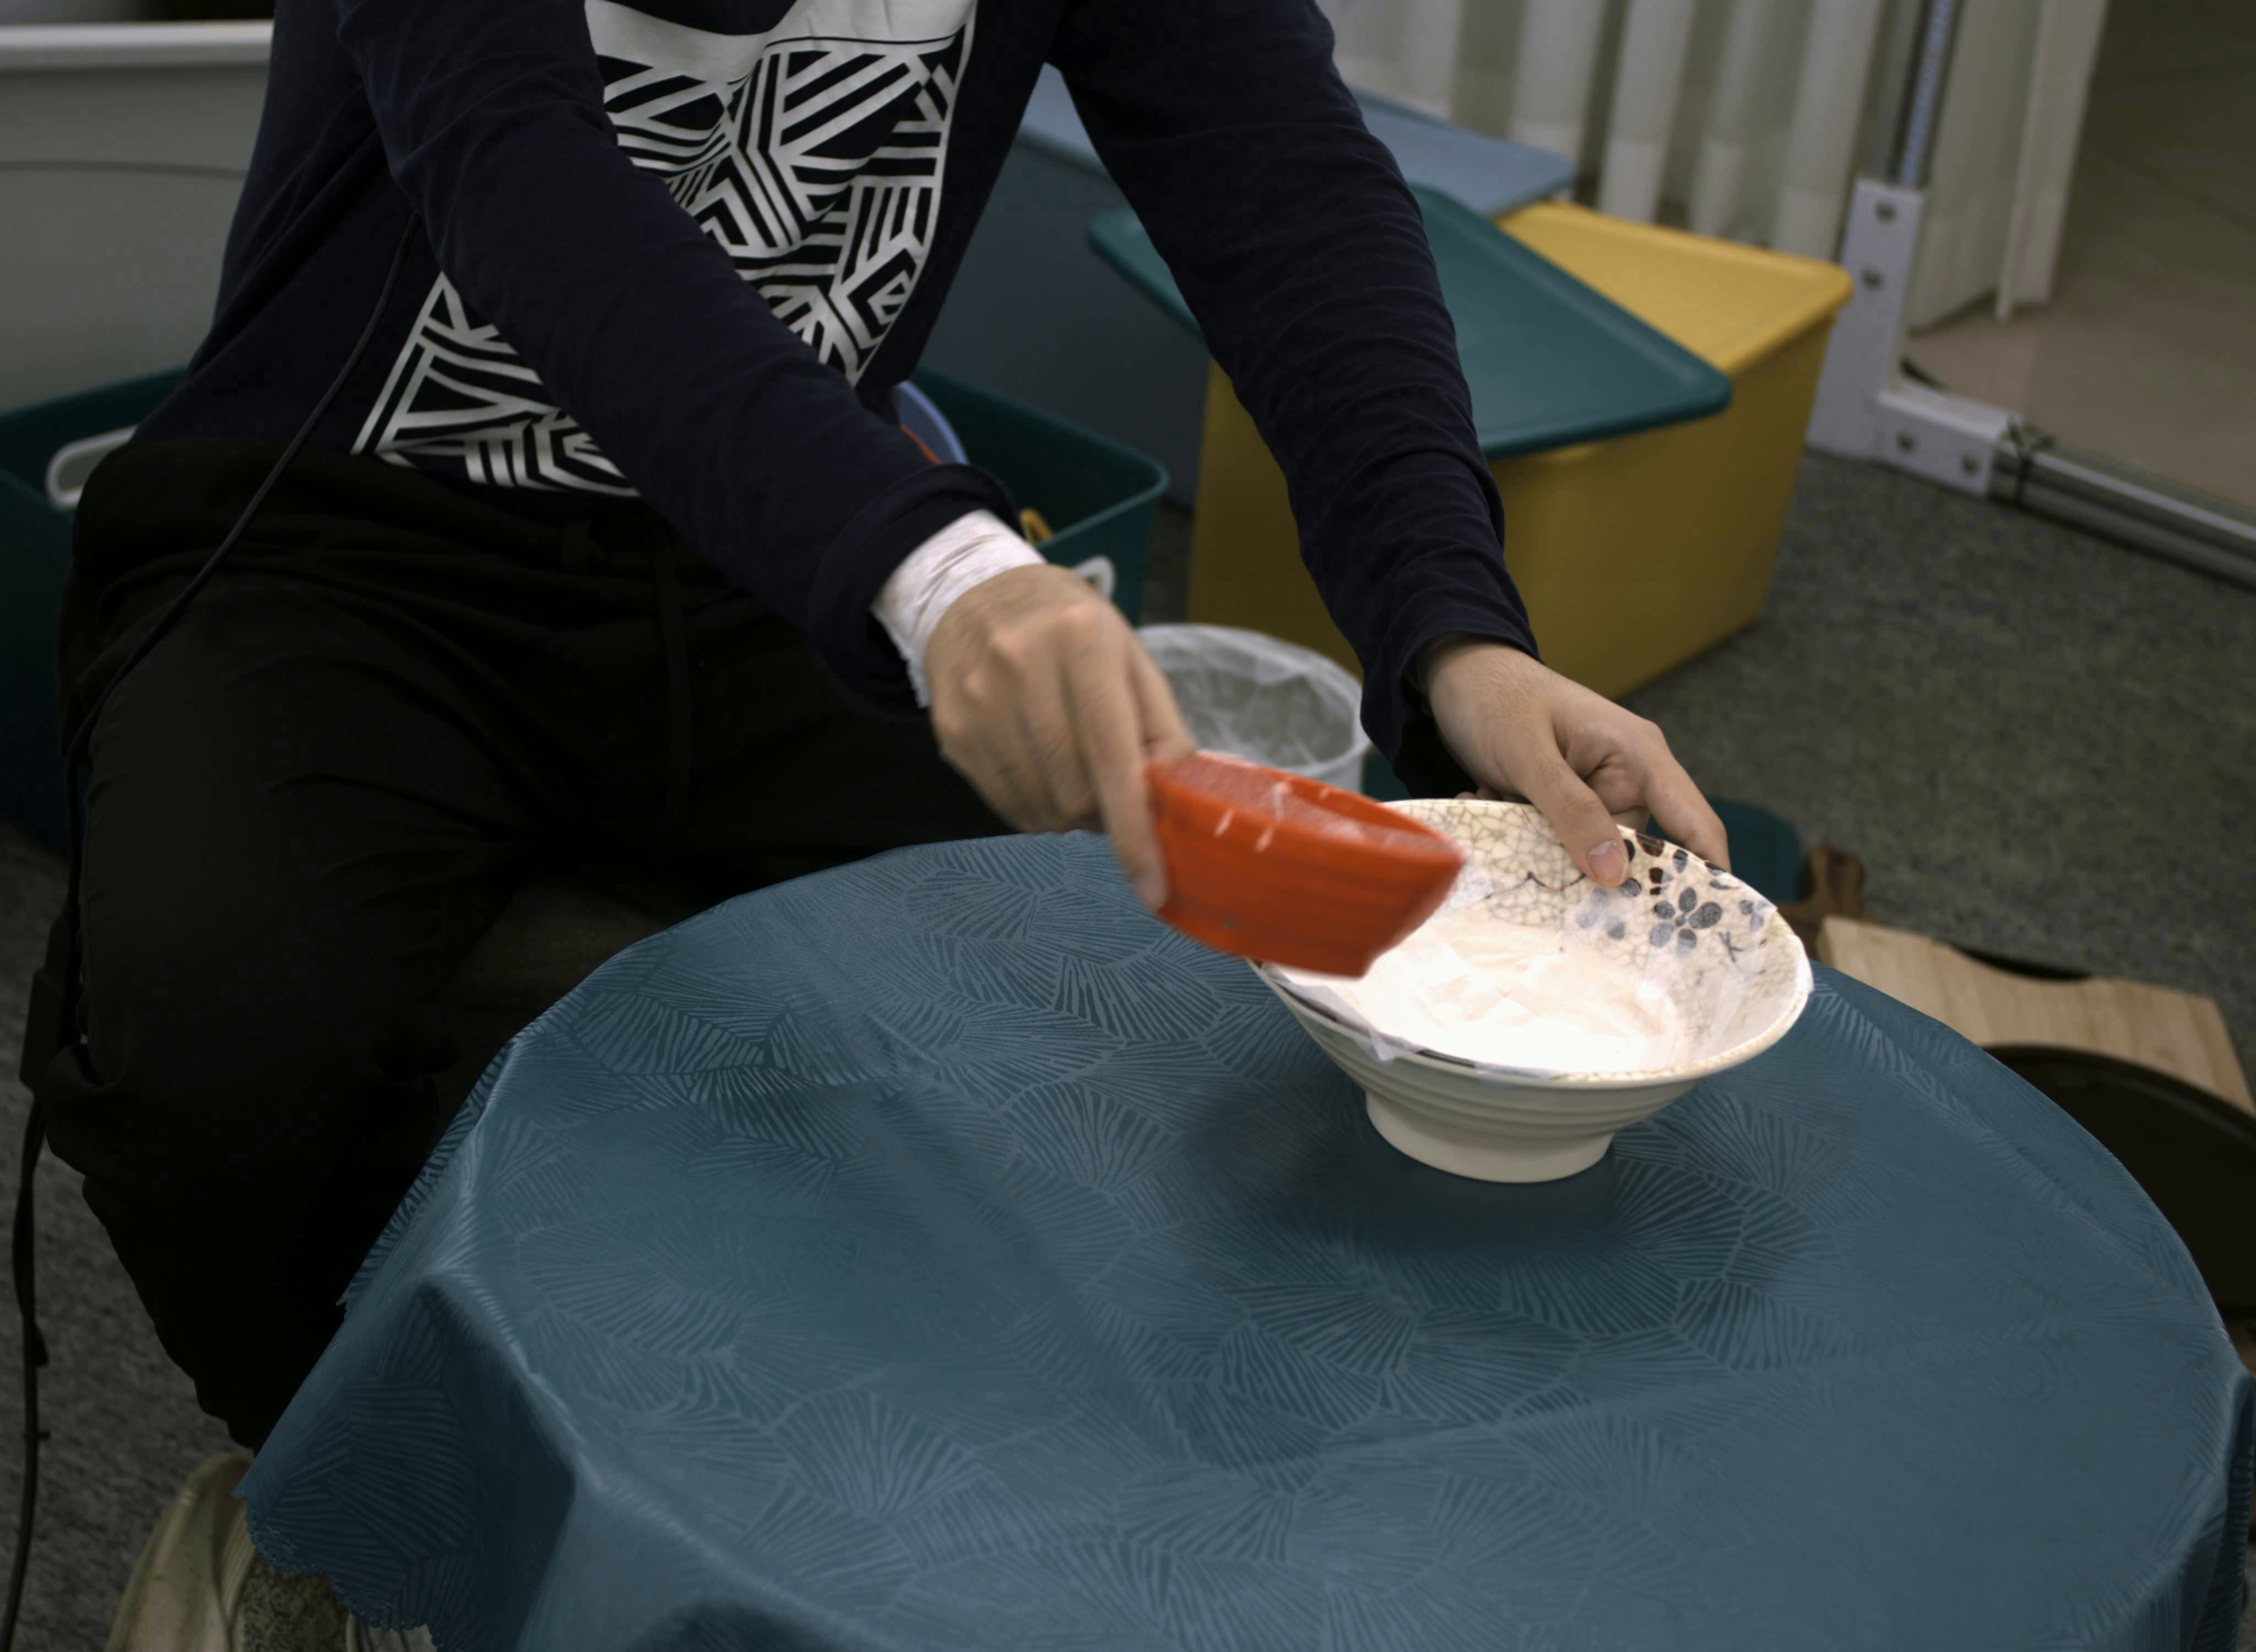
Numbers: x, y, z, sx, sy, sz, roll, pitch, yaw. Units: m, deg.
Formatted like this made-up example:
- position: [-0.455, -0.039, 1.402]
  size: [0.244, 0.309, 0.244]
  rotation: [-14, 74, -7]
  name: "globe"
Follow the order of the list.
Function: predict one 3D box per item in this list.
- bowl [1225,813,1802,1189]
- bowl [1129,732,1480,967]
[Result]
- position: [0.128, 0.072, 1.853]
  size: [0.203, 0.078, 0.205]
  rotation: [6, 24, -3]
  name: "bowl"
- position: [0.052, 0.010, 1.743]
  size: [0.118, 0.051, 0.119]
  rotation: [15, 9, -3]
  name: "bowl"
